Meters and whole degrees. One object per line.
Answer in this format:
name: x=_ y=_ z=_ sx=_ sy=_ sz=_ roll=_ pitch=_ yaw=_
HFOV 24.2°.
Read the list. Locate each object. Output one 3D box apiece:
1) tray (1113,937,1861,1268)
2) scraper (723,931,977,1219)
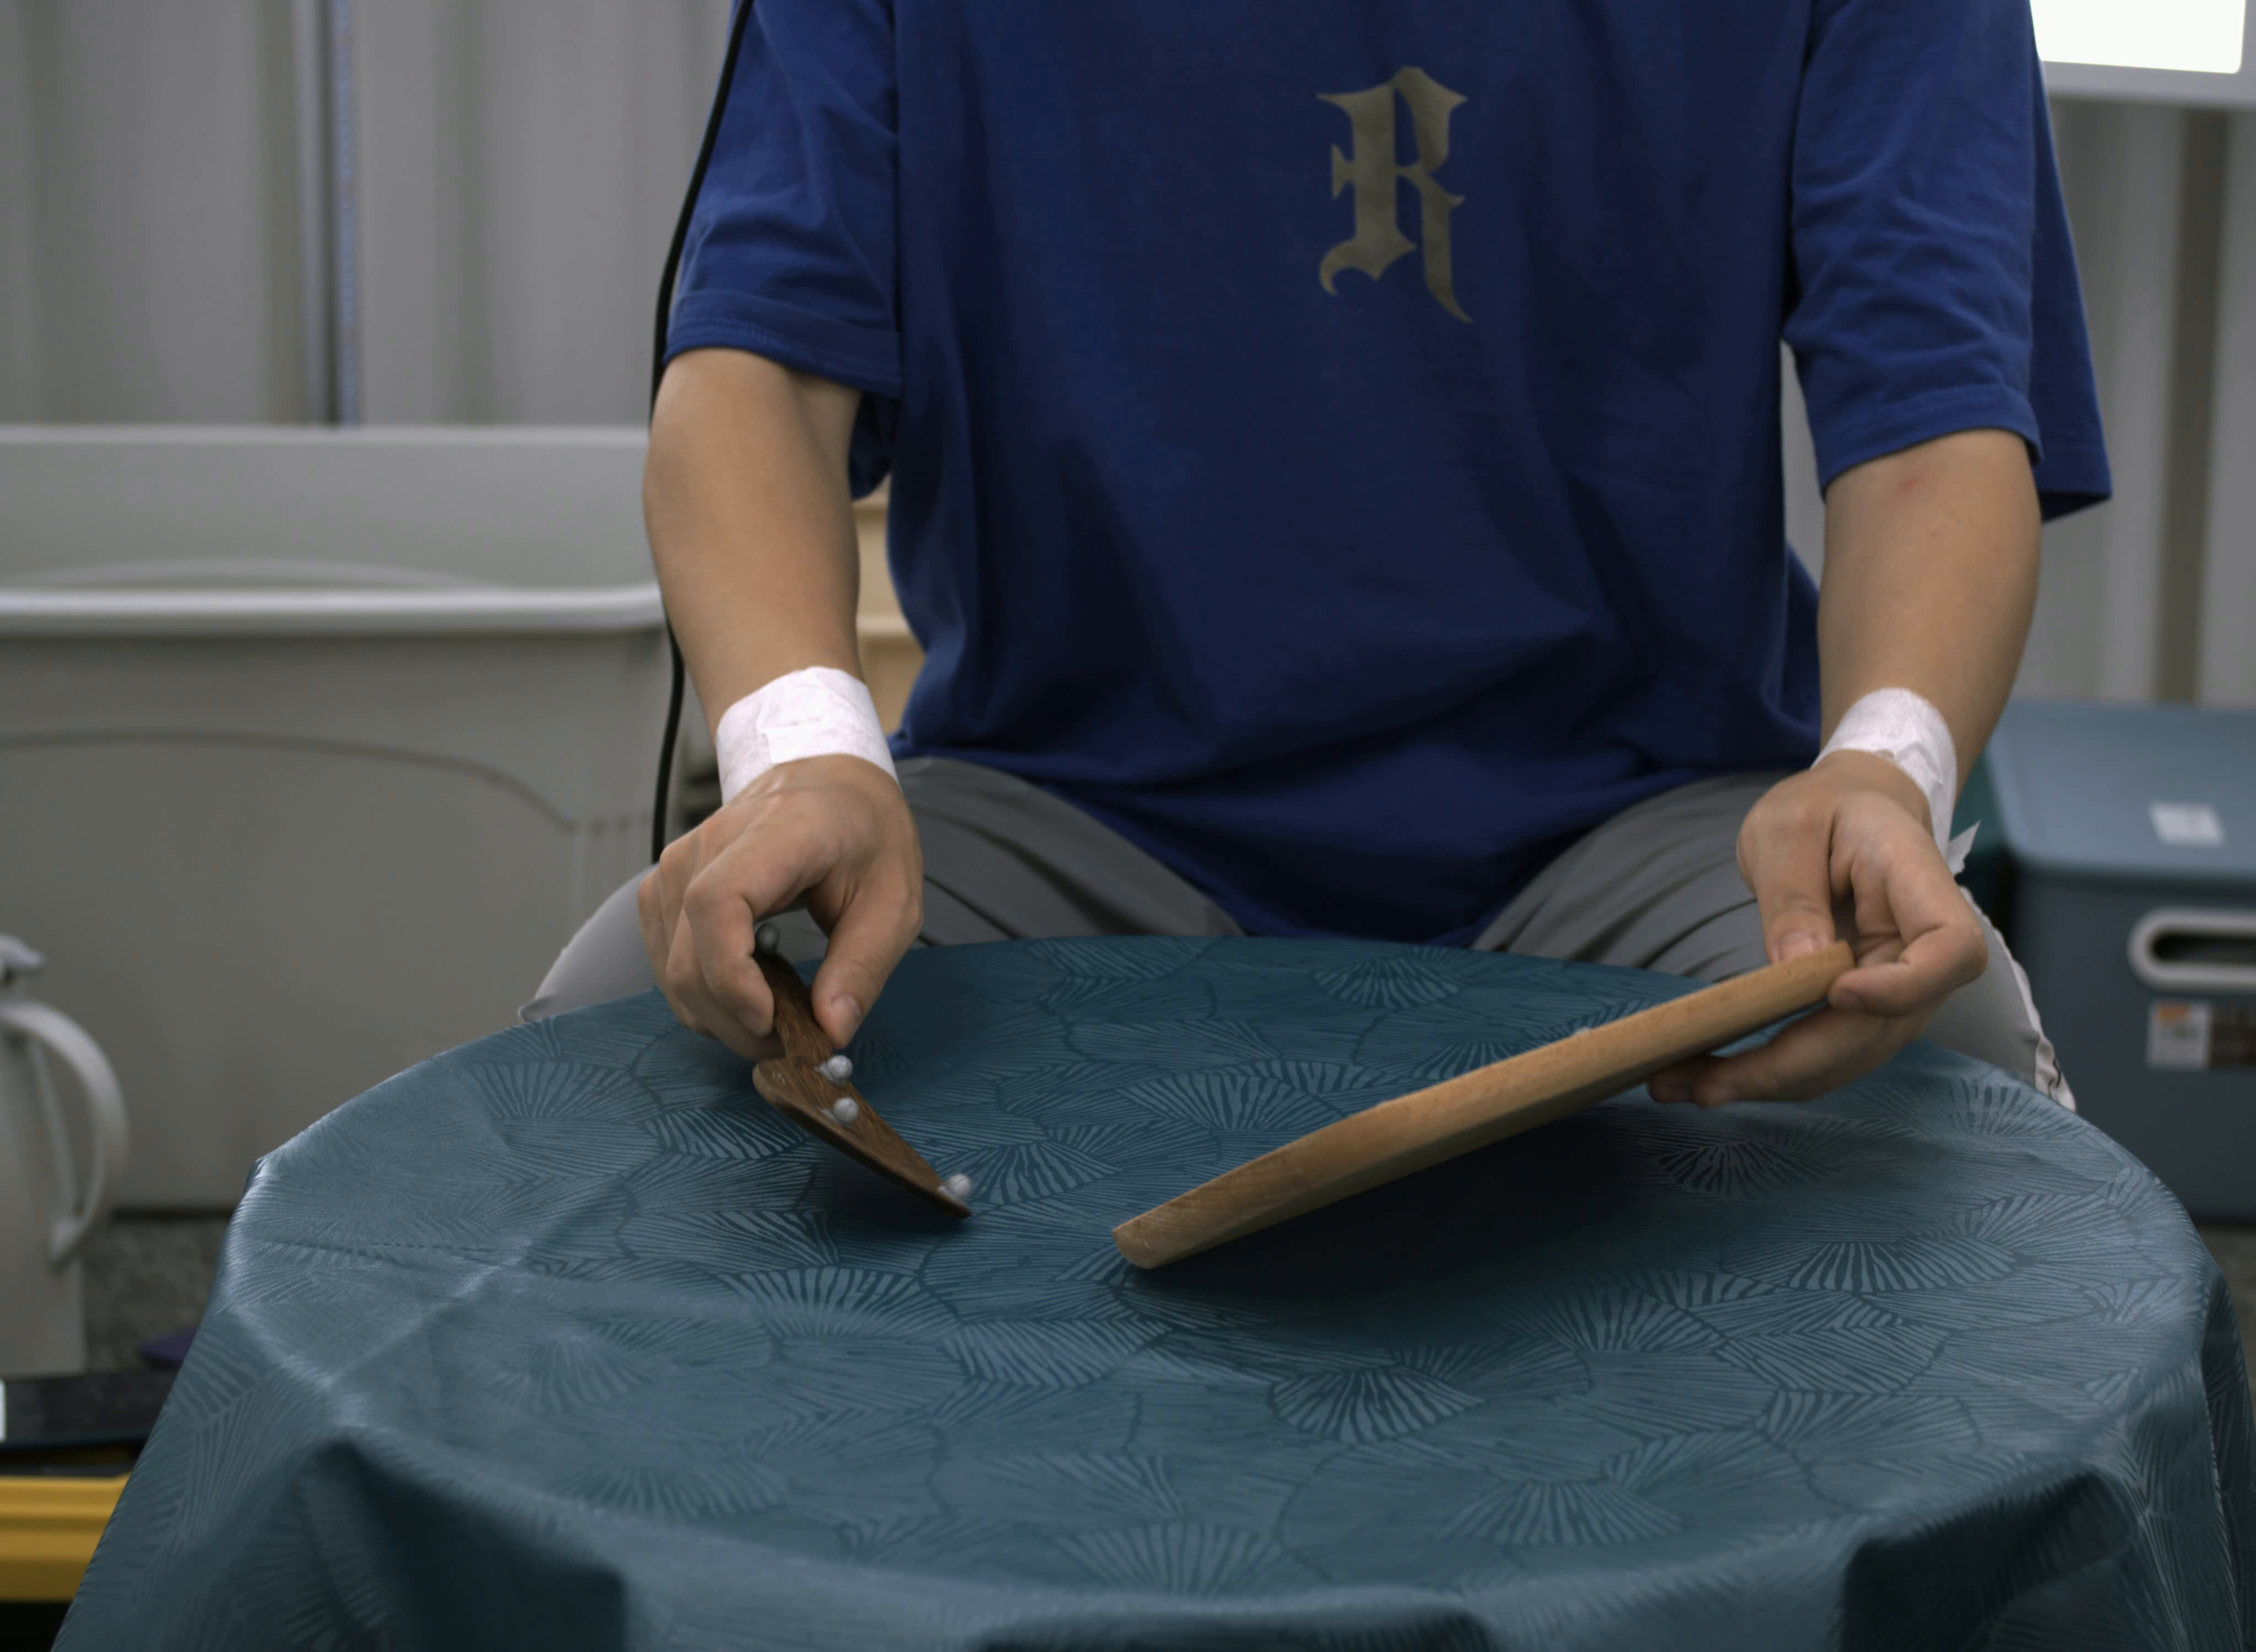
tray: x=0.112 y=0.083 z=1.591 sx=0.252 sy=0.023 sz=0.130 roll=-15 pitch=-7 yaw=-43
scraper: x=-0.100 y=0.073 z=1.662 sx=0.076 sy=0.011 sz=0.209 roll=32 pitch=7 yaw=-22
